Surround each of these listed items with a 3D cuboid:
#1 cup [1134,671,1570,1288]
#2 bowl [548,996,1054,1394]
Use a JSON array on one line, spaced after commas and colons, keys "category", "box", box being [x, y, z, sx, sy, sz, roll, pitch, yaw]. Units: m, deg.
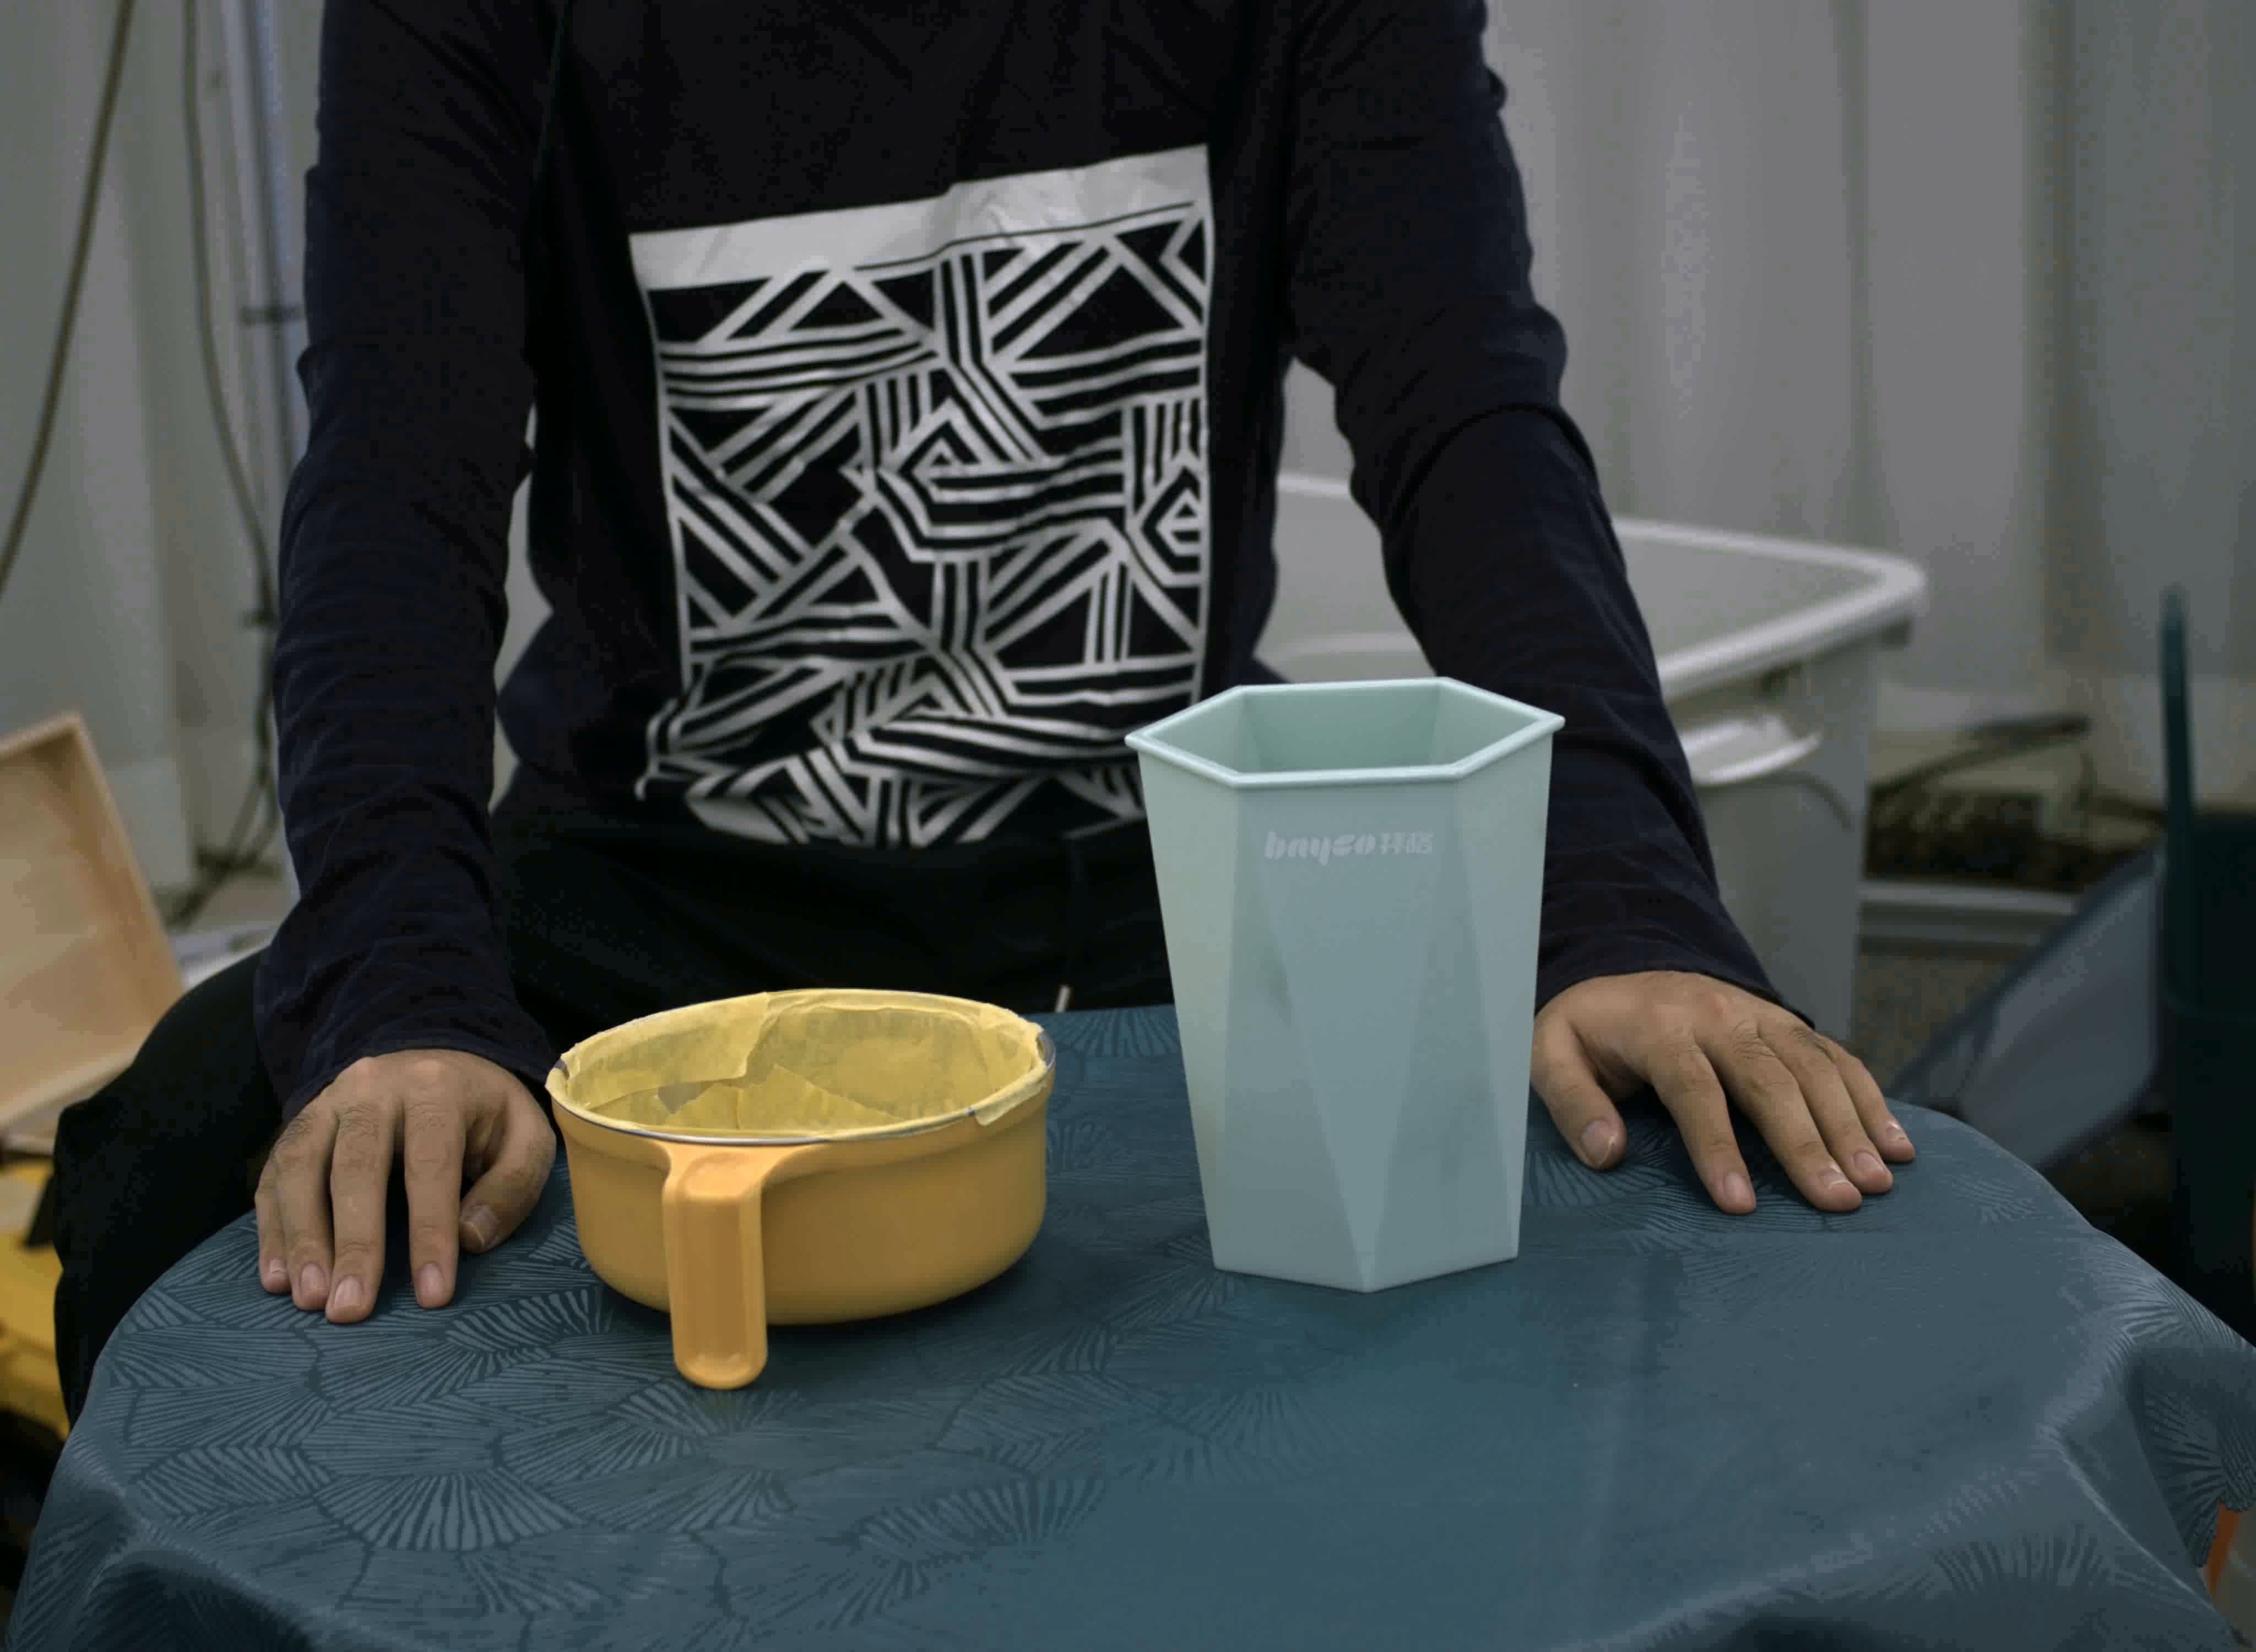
[{"category": "cup", "box": [0.070, 0.046, 1.645, 0.130, 0.162, 0.116, -2, 13, 1]}, {"category": "bowl", "box": [-0.099, 0.107, 1.637, 0.152, 0.074, 0.180, -1, 13, 9]}]
